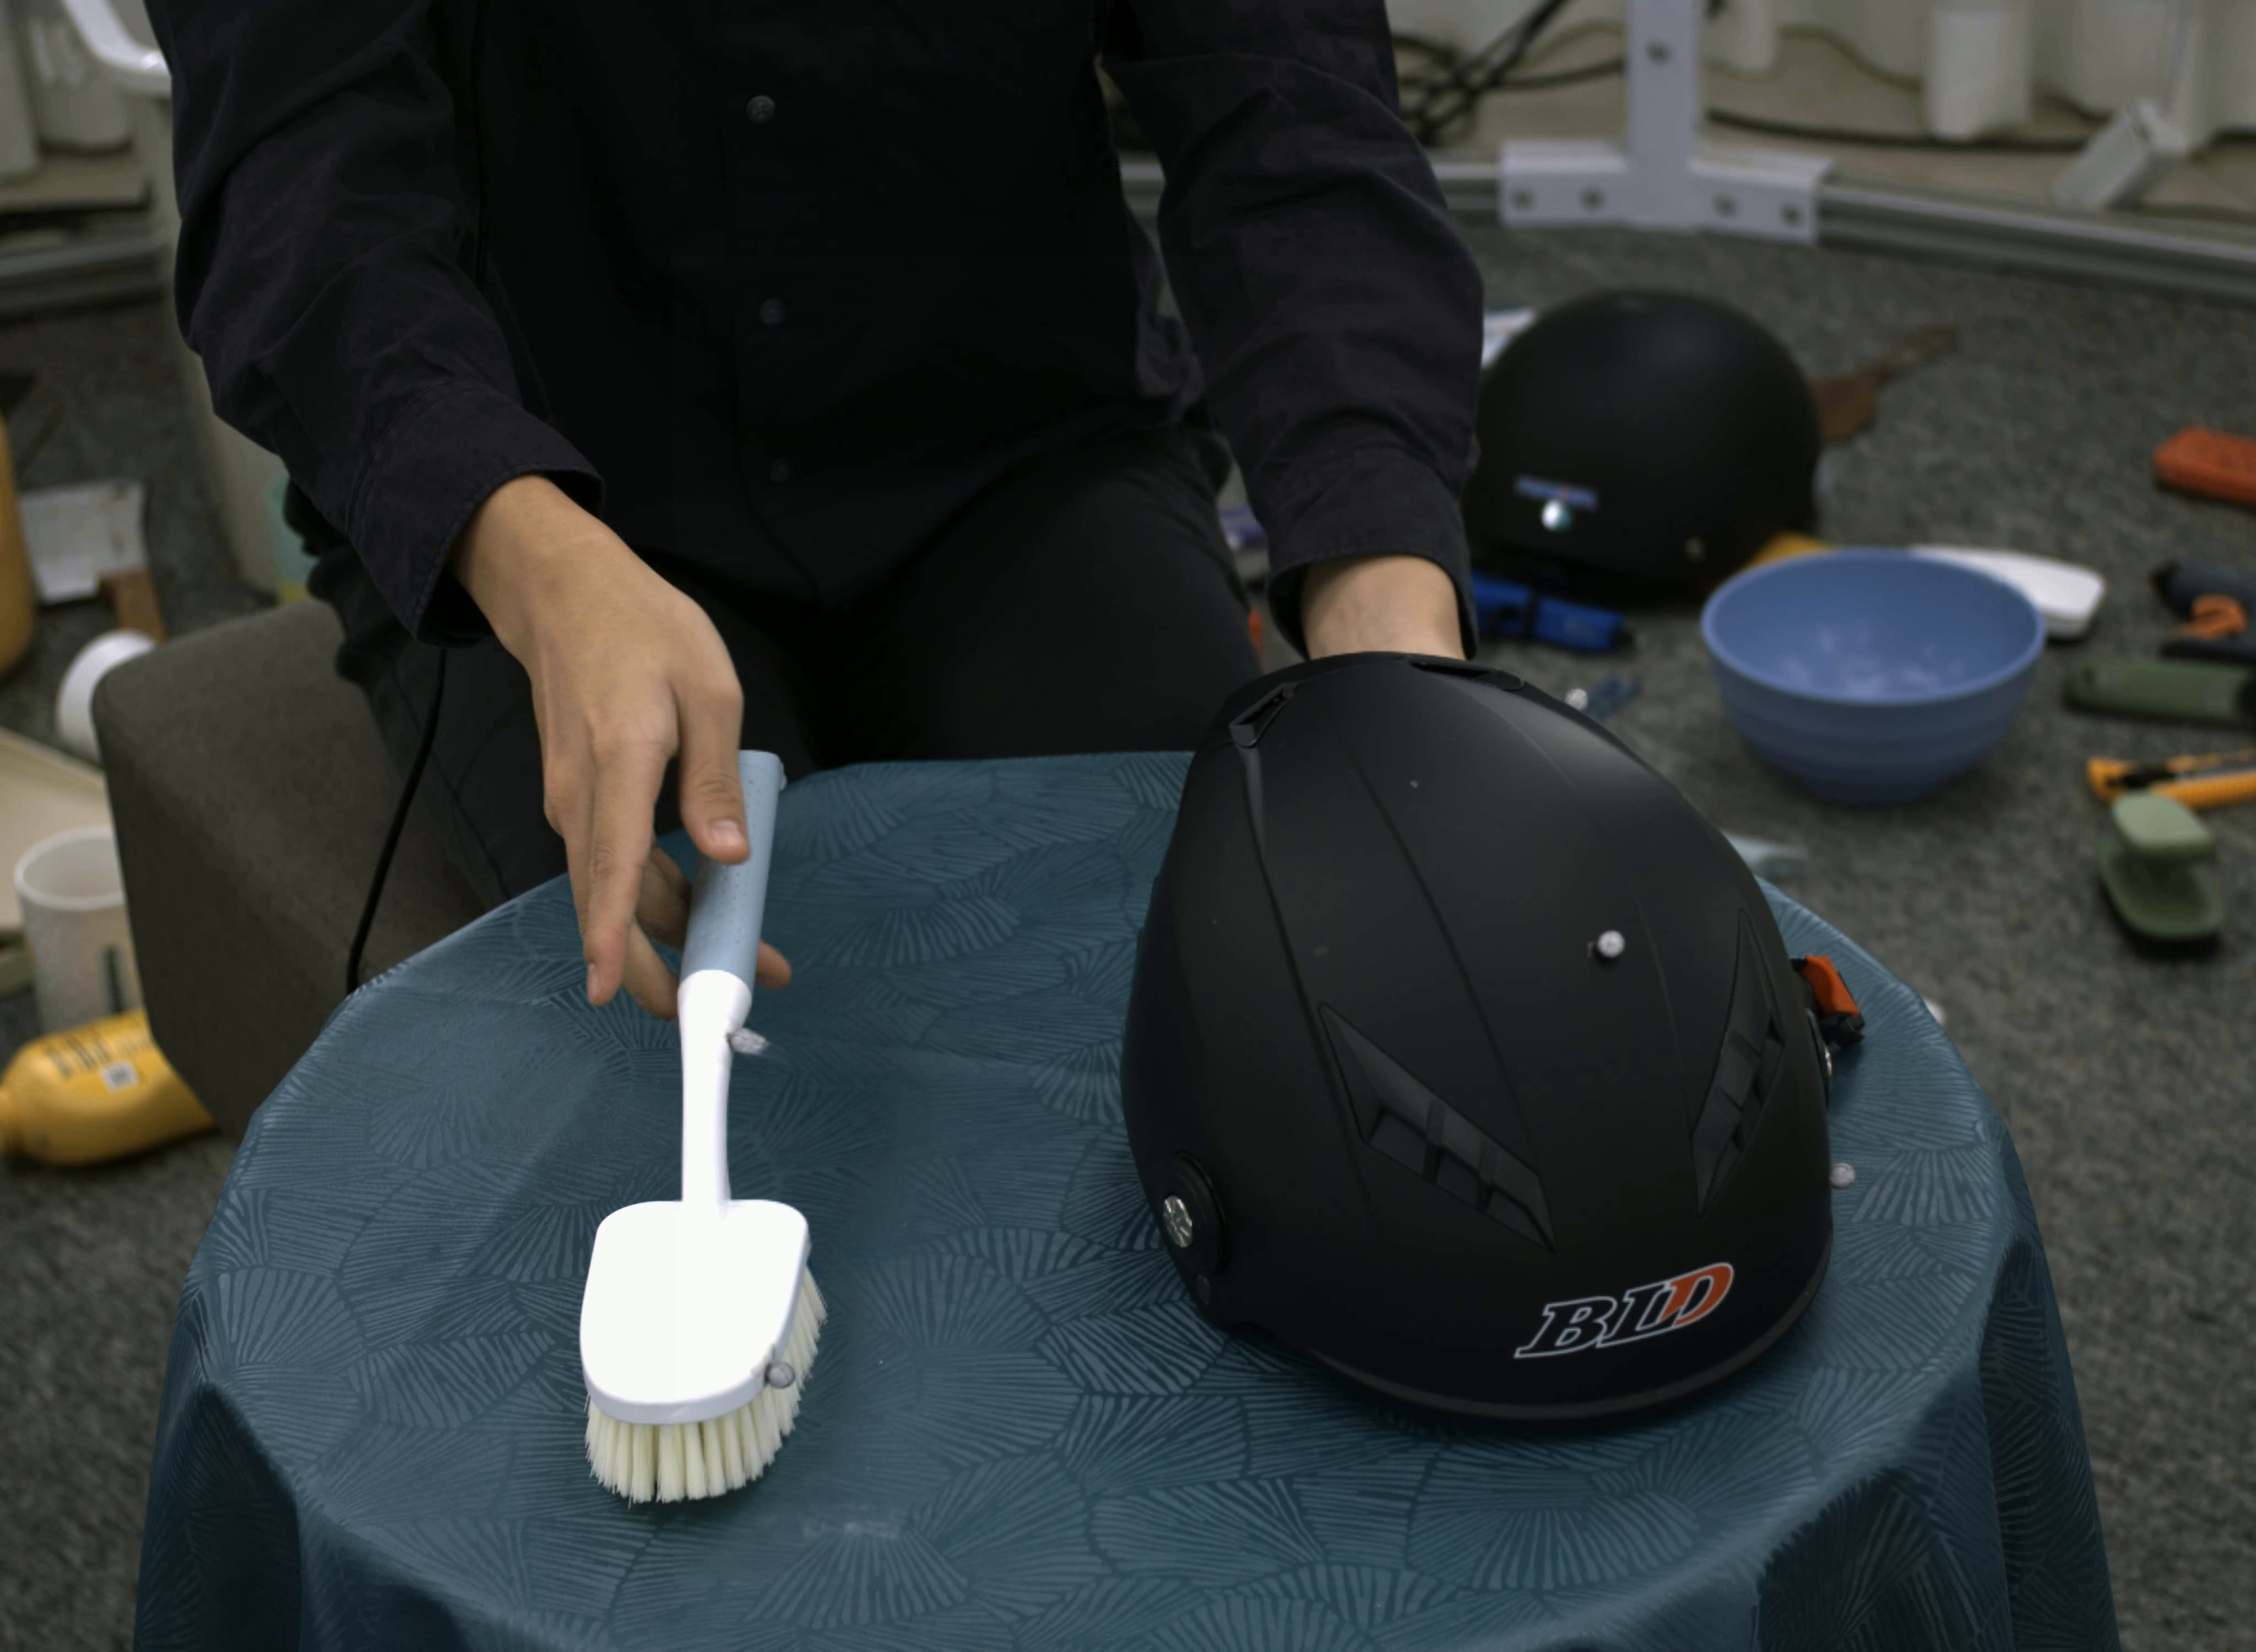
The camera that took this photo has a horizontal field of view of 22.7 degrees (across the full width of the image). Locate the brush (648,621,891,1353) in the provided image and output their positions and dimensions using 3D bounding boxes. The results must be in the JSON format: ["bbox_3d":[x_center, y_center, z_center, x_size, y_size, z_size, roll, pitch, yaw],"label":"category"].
[{"bbox_3d":[-0.108,0.061,1.845,0.083,0.083,0.332,28,35,-19],"label":"brush"}]

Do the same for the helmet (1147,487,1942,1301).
[{"bbox_3d":[0.131,0.012,1.818,0.247,0.170,0.280,-12,38,-15],"label":"helmet"}]
